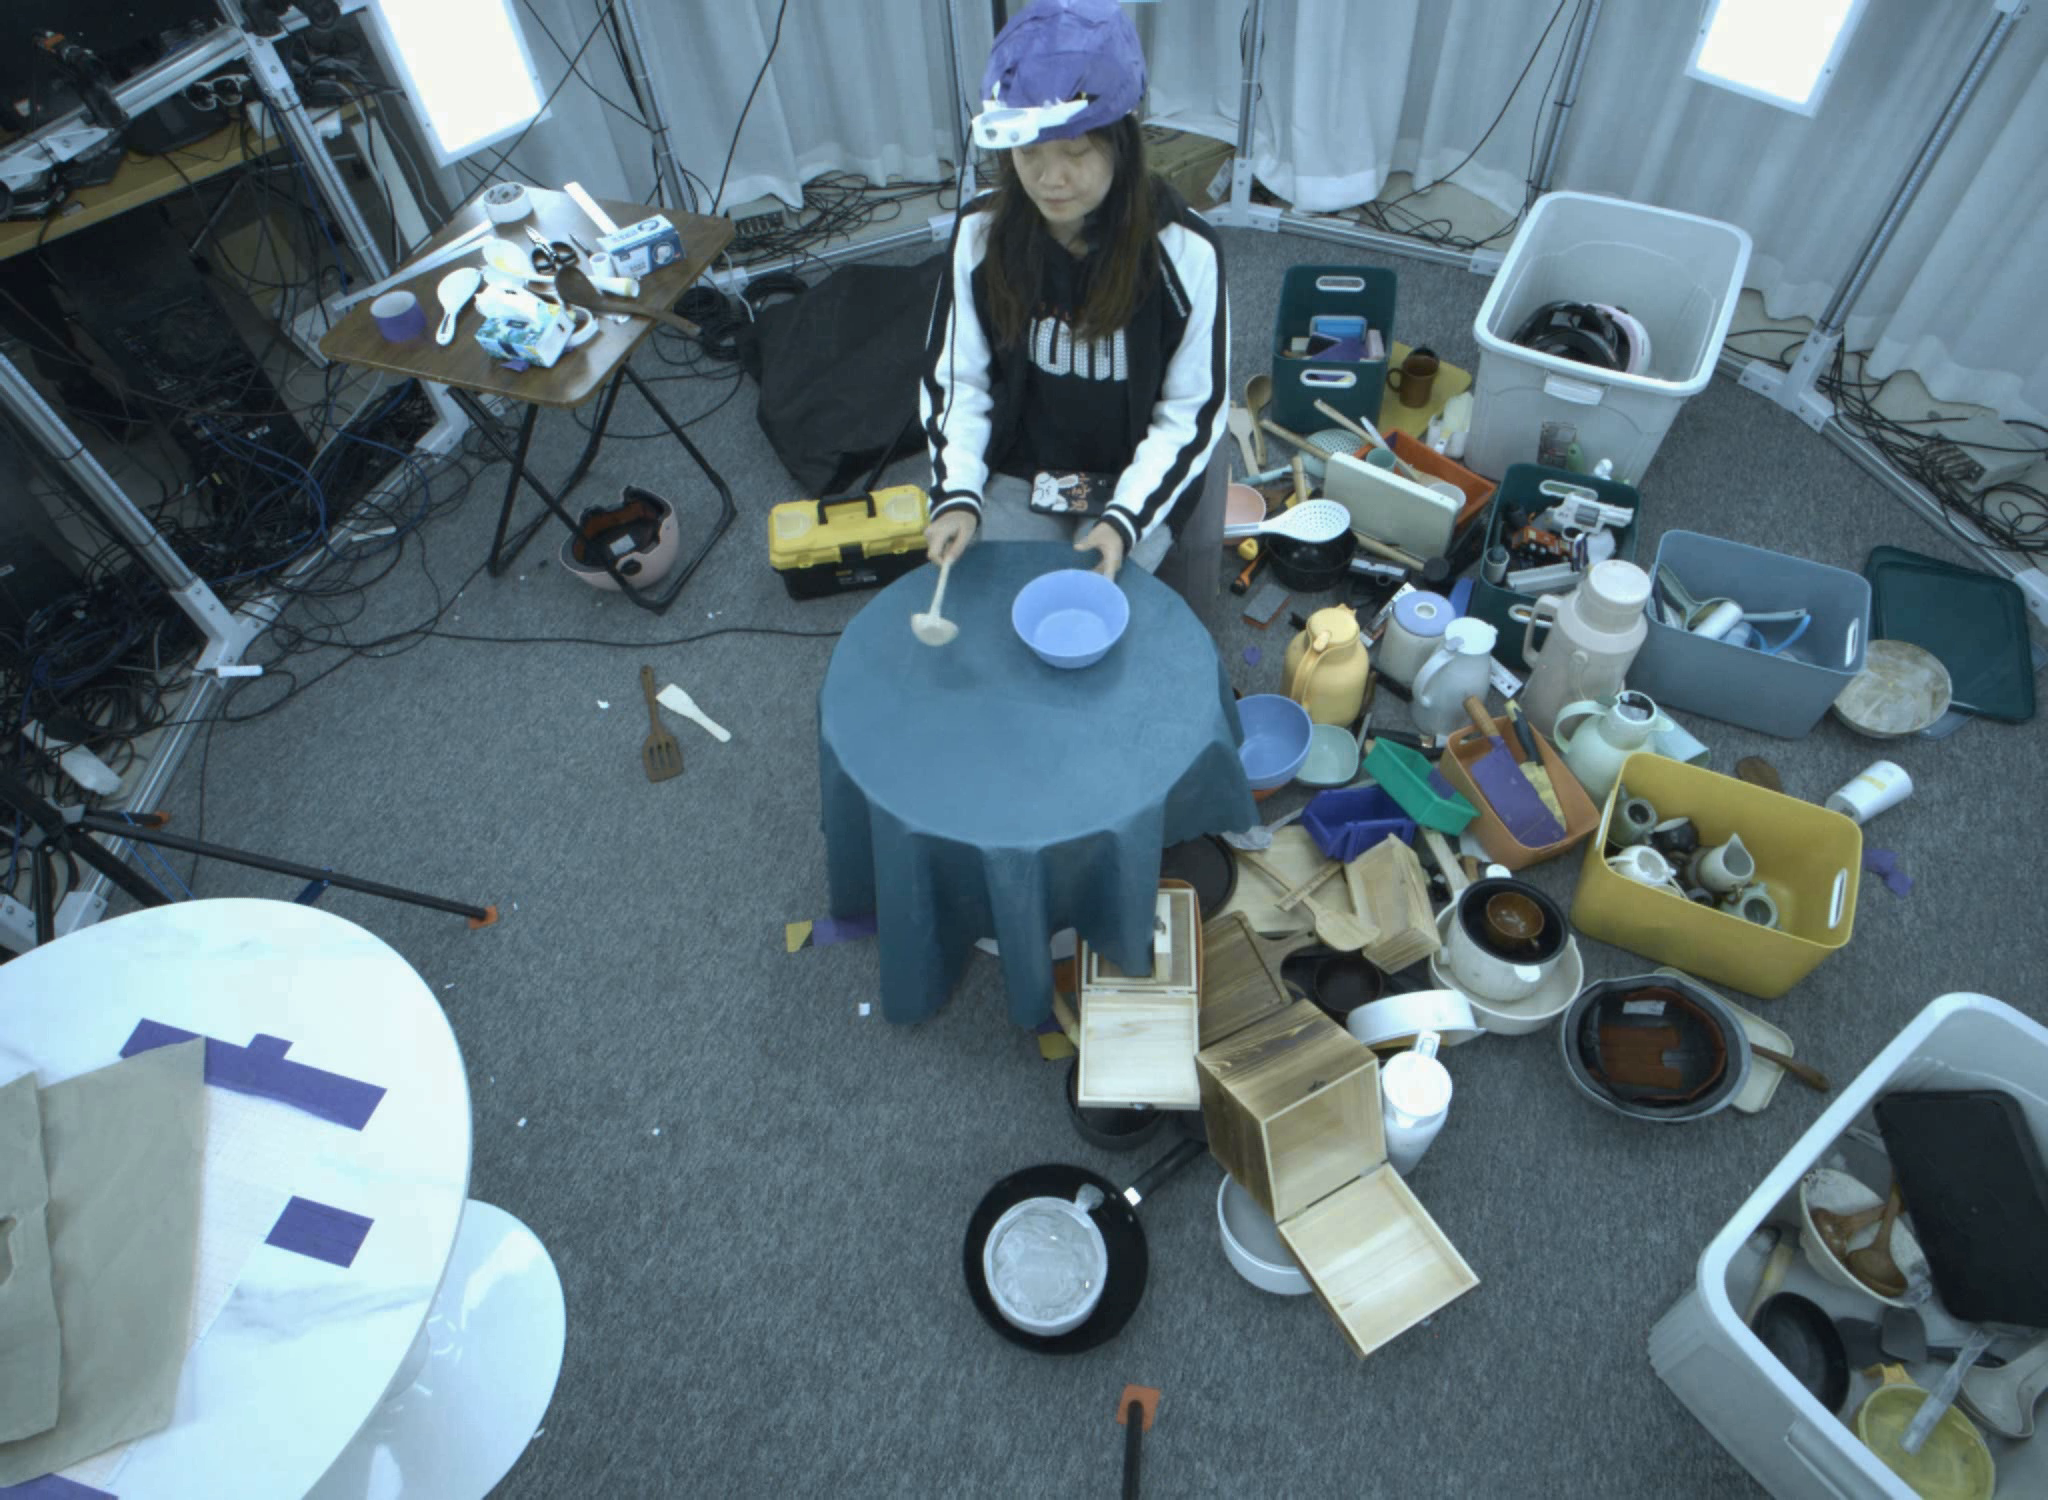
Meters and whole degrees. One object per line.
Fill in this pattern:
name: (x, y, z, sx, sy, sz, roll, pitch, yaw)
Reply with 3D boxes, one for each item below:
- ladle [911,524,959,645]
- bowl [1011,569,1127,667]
ladle: (-0.123, -0.271, 1.857, 0.073, 0.072, 0.252, 16, 57, -16)
bowl: (0.069, -0.192, 1.878, 0.176, 0.071, 0.174, 0, 55, 1)
